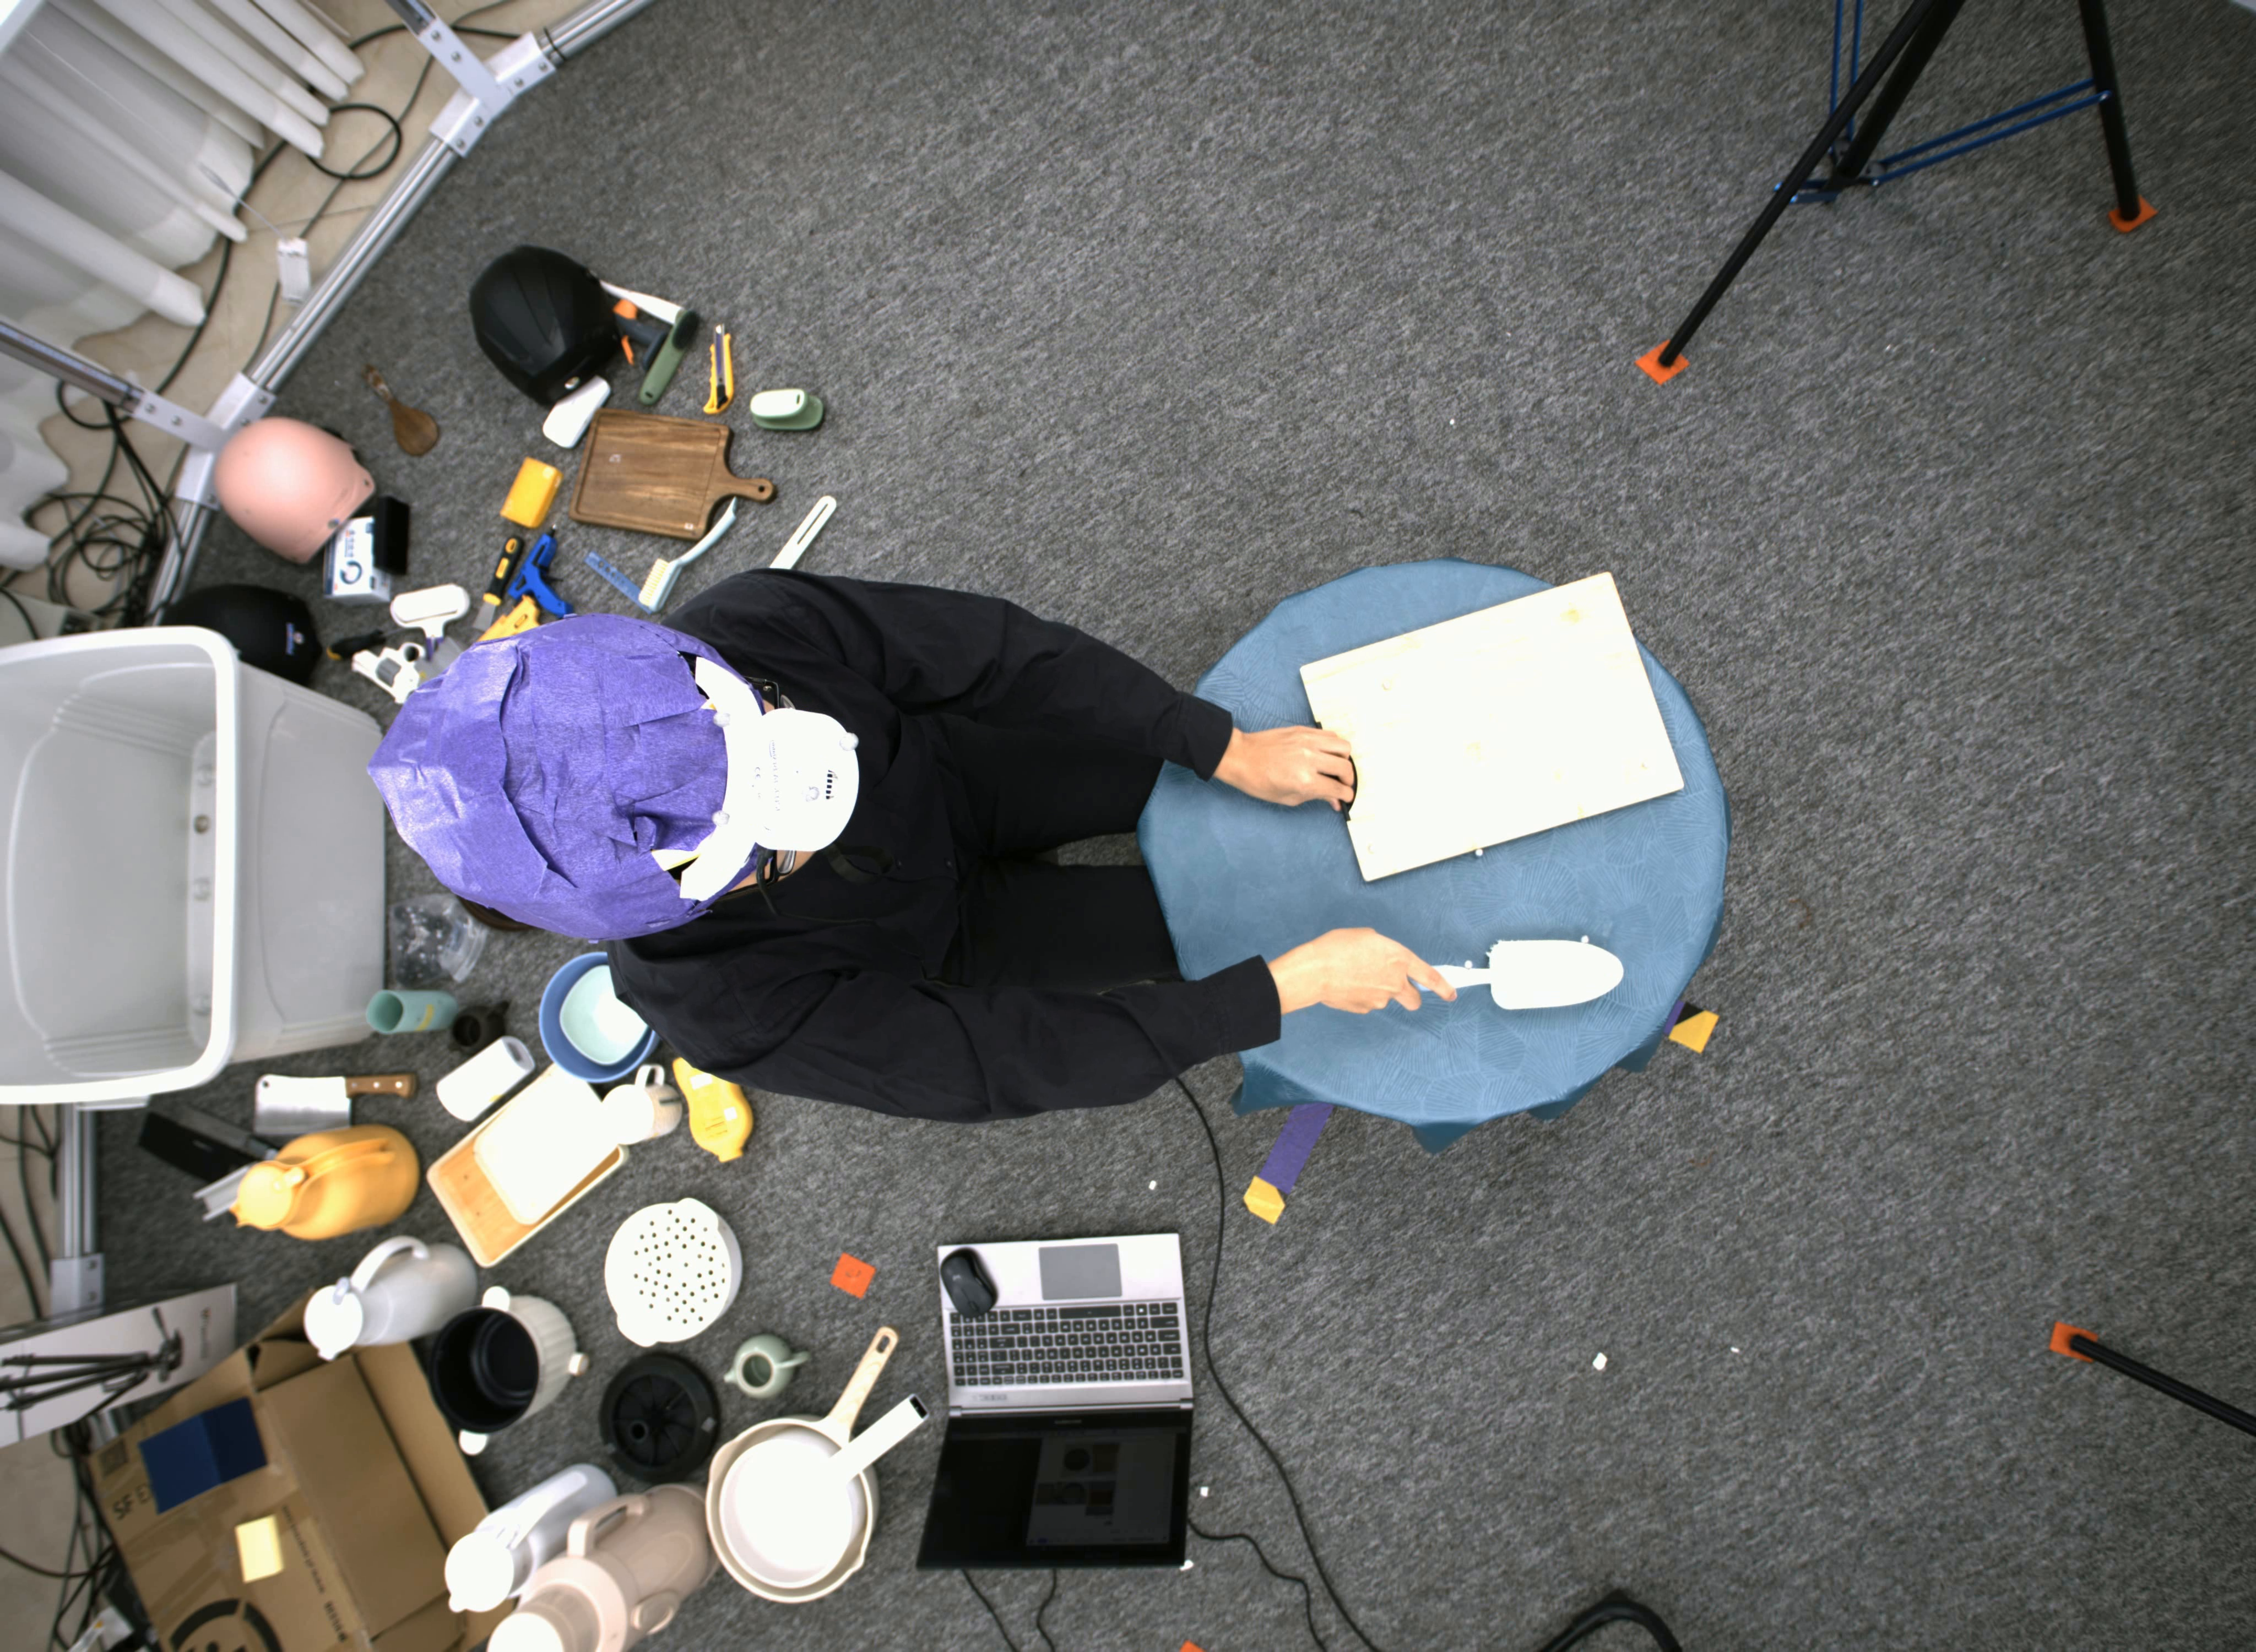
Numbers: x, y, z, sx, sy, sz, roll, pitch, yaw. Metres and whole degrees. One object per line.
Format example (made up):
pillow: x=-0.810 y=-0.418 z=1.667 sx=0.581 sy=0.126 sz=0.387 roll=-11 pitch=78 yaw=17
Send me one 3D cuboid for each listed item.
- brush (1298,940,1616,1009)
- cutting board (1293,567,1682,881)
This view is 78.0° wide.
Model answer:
brush: x=0.330 y=0.147 z=1.402 sx=0.326 sy=0.087 sz=0.081 roll=-2 pitch=49 yaw=-1
cutting board: x=0.376 y=-0.108 z=1.439 sx=0.350 sy=0.023 sz=0.249 roll=-19 pitch=83 yaw=8
